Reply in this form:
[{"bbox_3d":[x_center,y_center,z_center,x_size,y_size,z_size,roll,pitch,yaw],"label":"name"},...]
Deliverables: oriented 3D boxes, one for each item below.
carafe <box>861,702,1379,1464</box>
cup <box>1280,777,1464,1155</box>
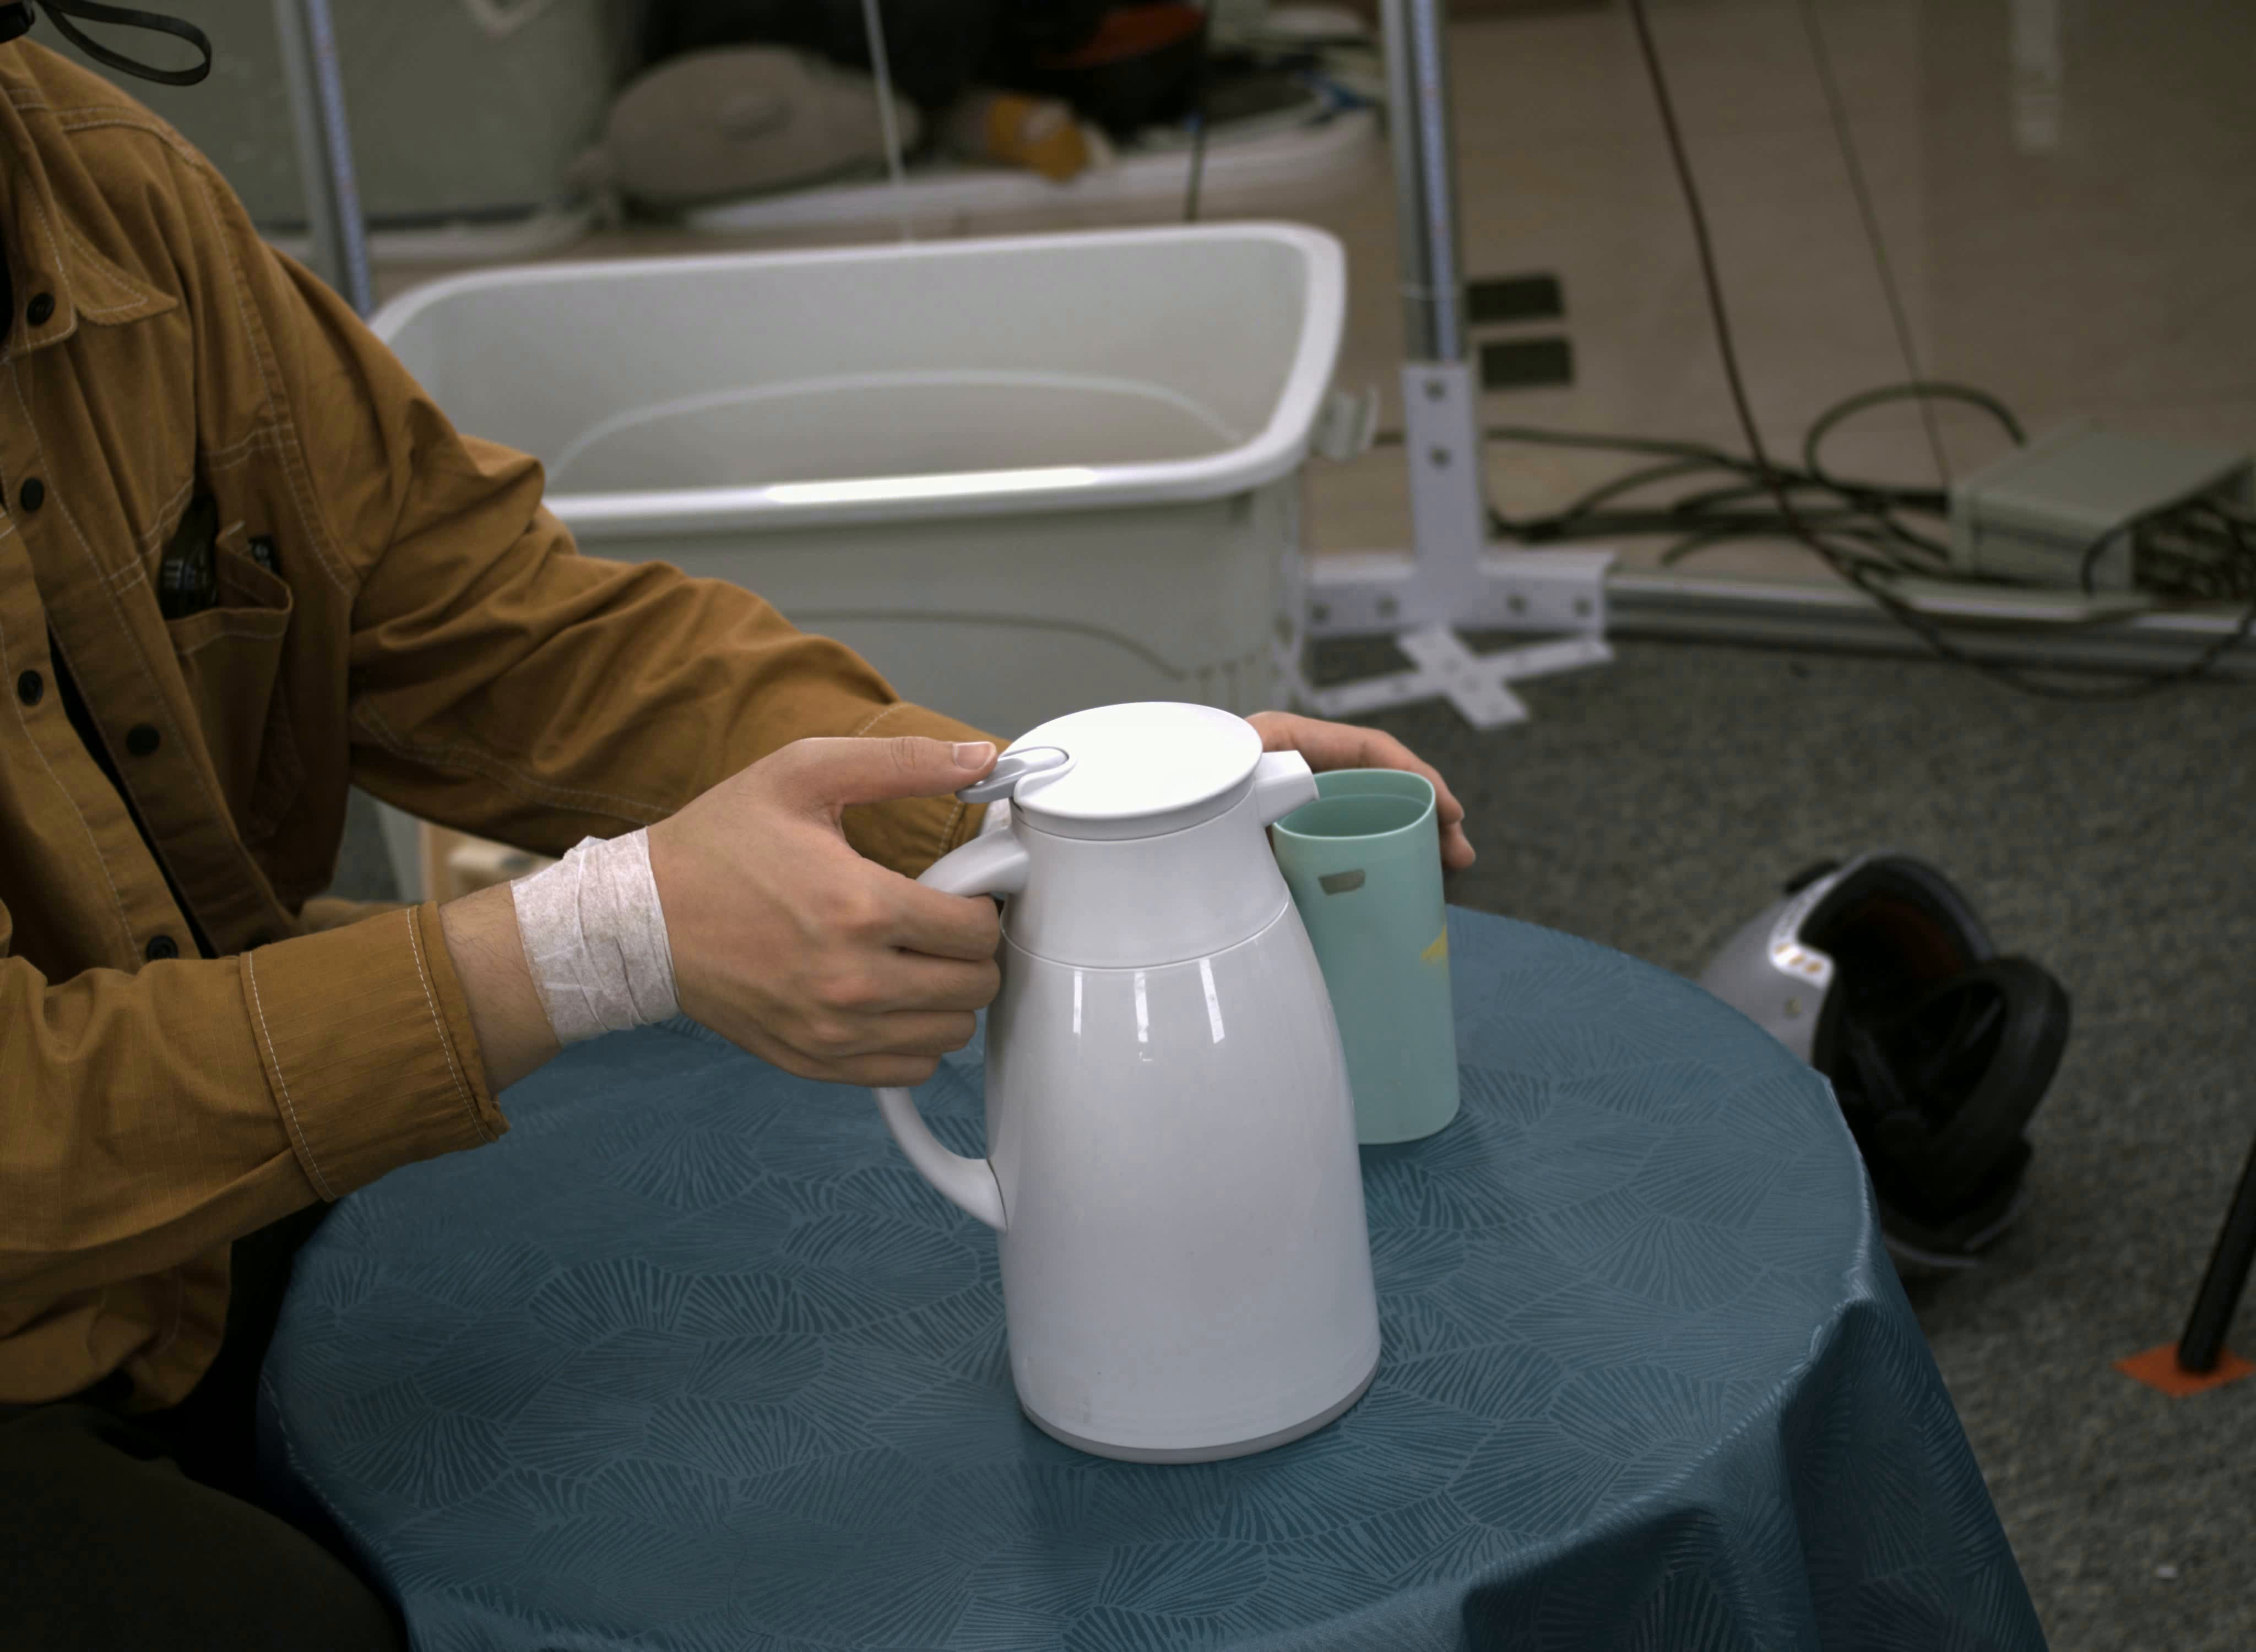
[{"bbox_3d":[-0.006,0.086,1.967,0.167,0.252,0.130,-12,27,-10],"label":"carafe"},{"bbox_3d":[0.092,0.053,2.163,0.066,0.134,0.066,-5,26,2],"label":"cup"}]
